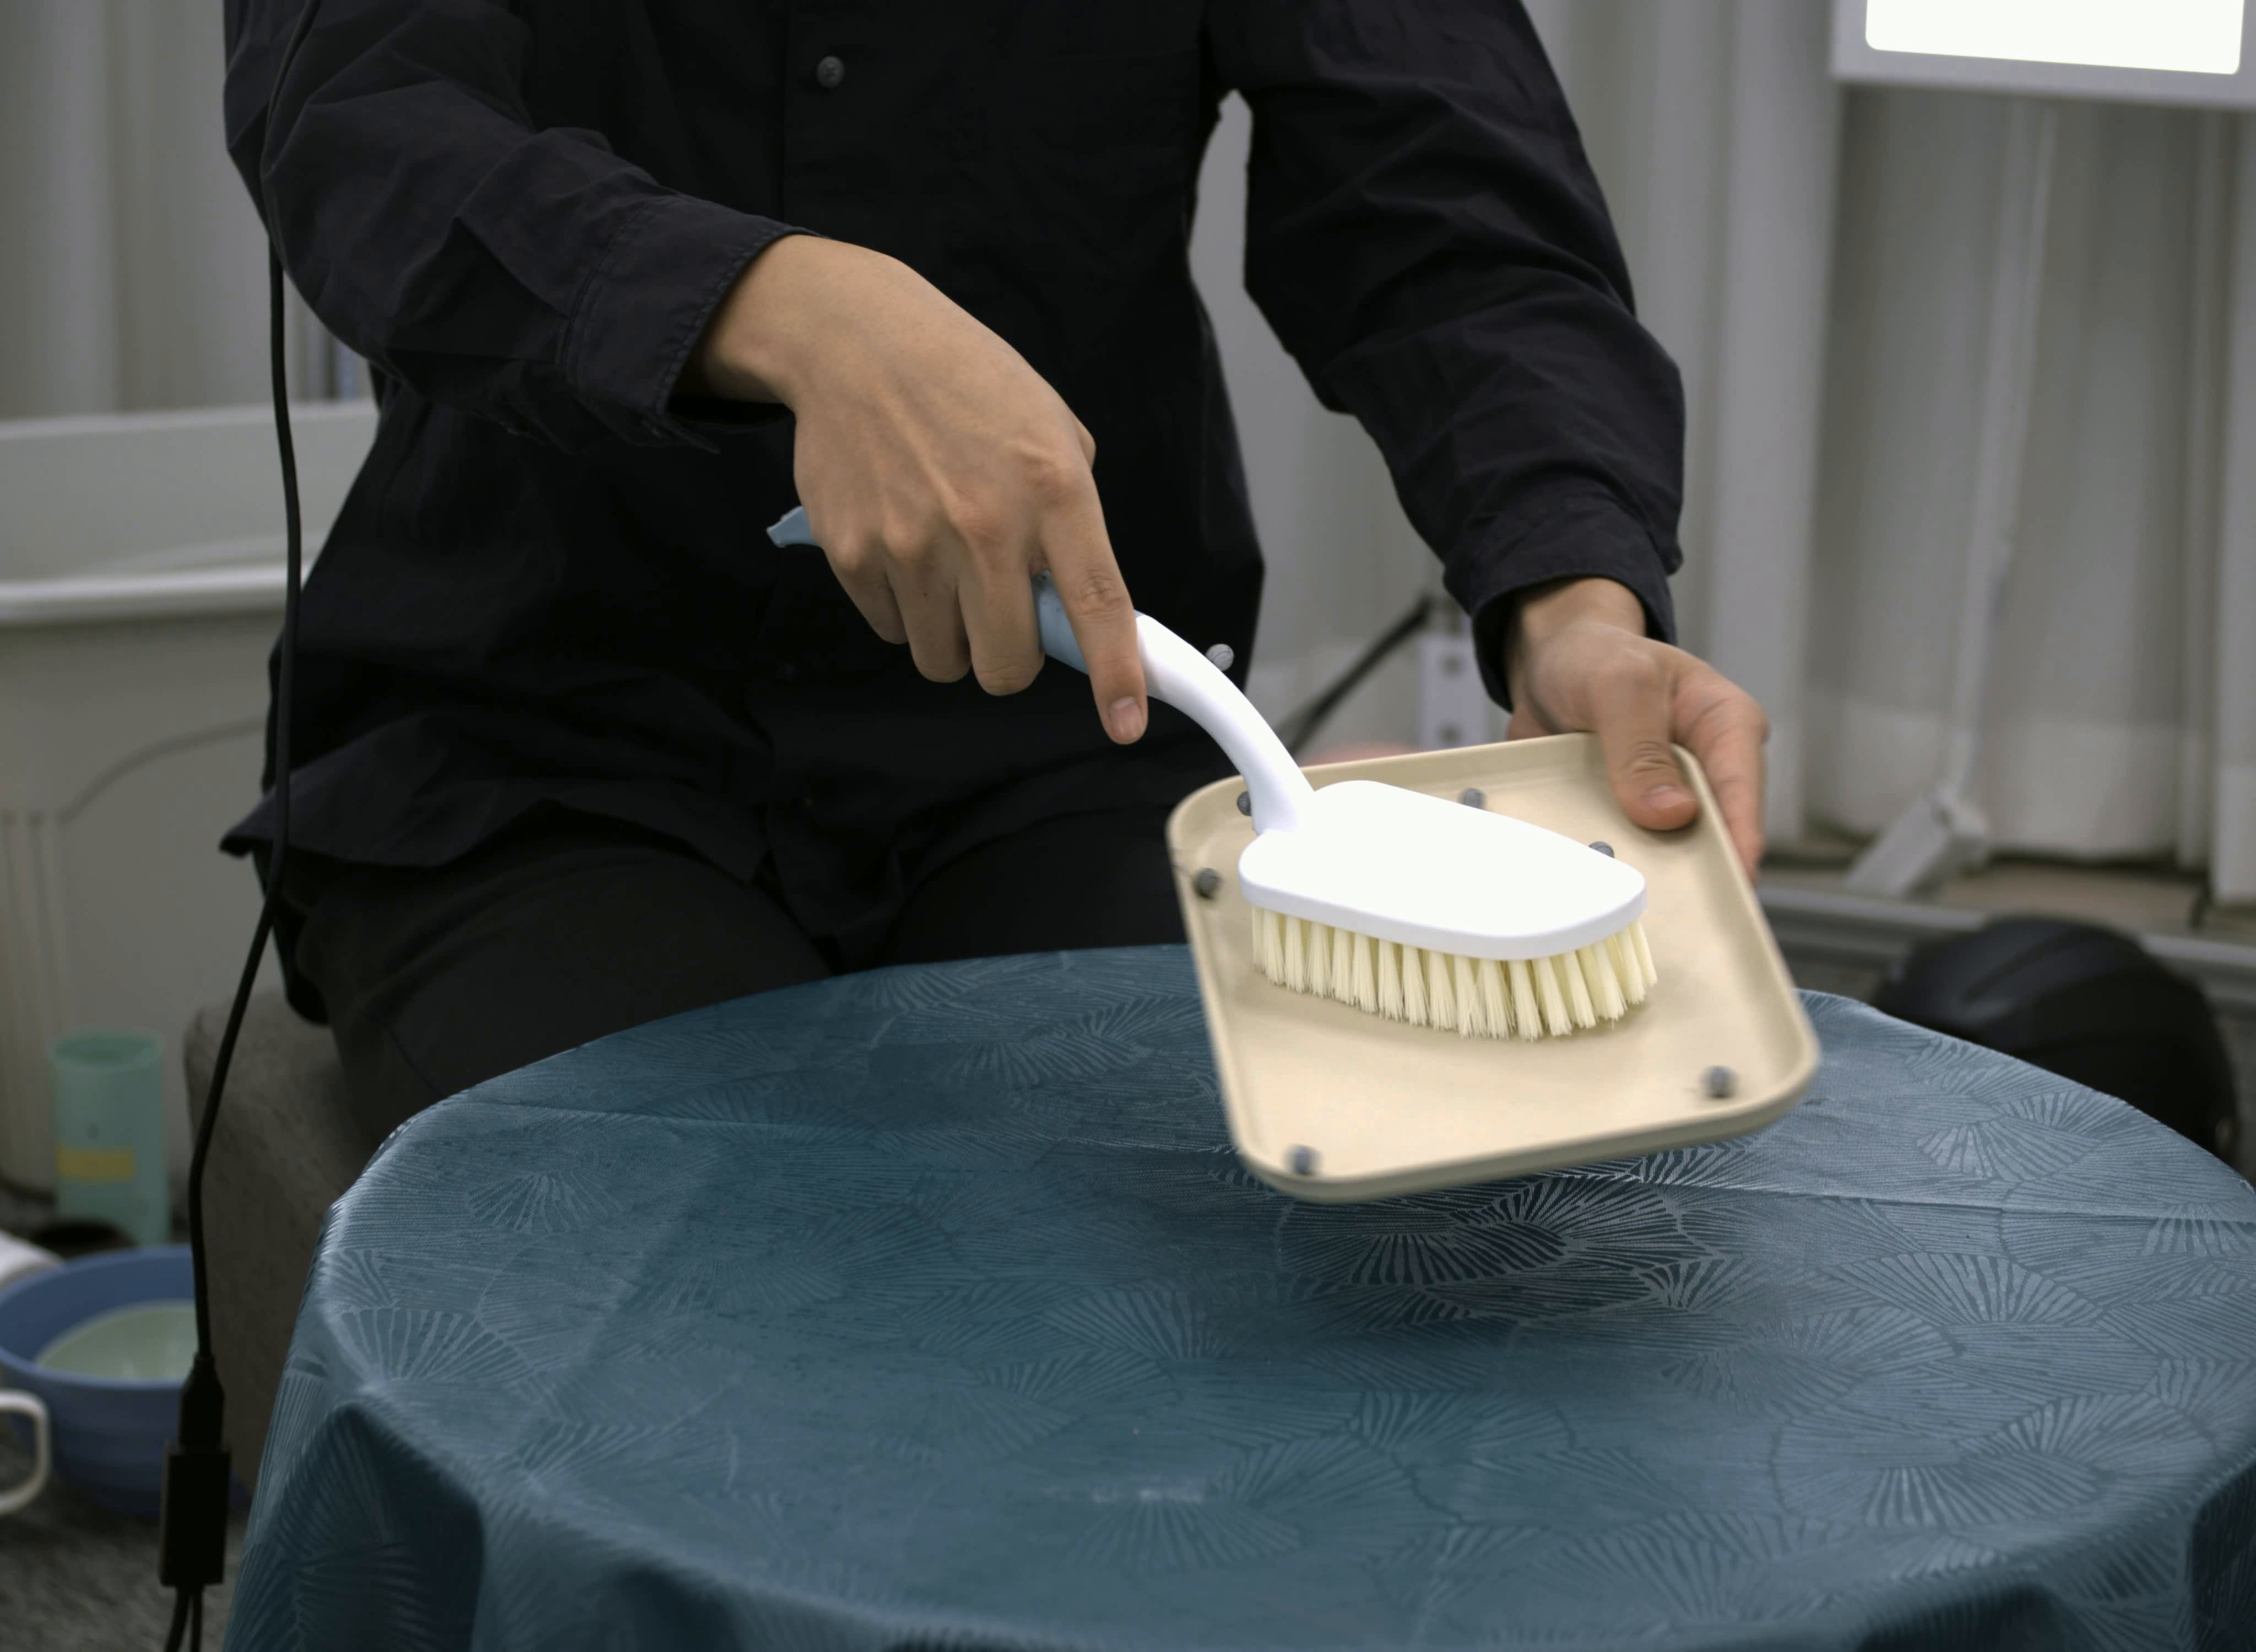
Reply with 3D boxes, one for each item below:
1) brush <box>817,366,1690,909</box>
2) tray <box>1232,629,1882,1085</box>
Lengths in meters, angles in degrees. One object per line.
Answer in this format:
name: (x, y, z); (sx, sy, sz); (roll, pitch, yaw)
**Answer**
brush: (0.034, -0.050, 1.658); (0.322, 0.085, 0.084); (26, 5, 24)
tray: (0.127, 0.008, 1.616); (0.171, 0.018, 0.237); (-8, 30, -3)
